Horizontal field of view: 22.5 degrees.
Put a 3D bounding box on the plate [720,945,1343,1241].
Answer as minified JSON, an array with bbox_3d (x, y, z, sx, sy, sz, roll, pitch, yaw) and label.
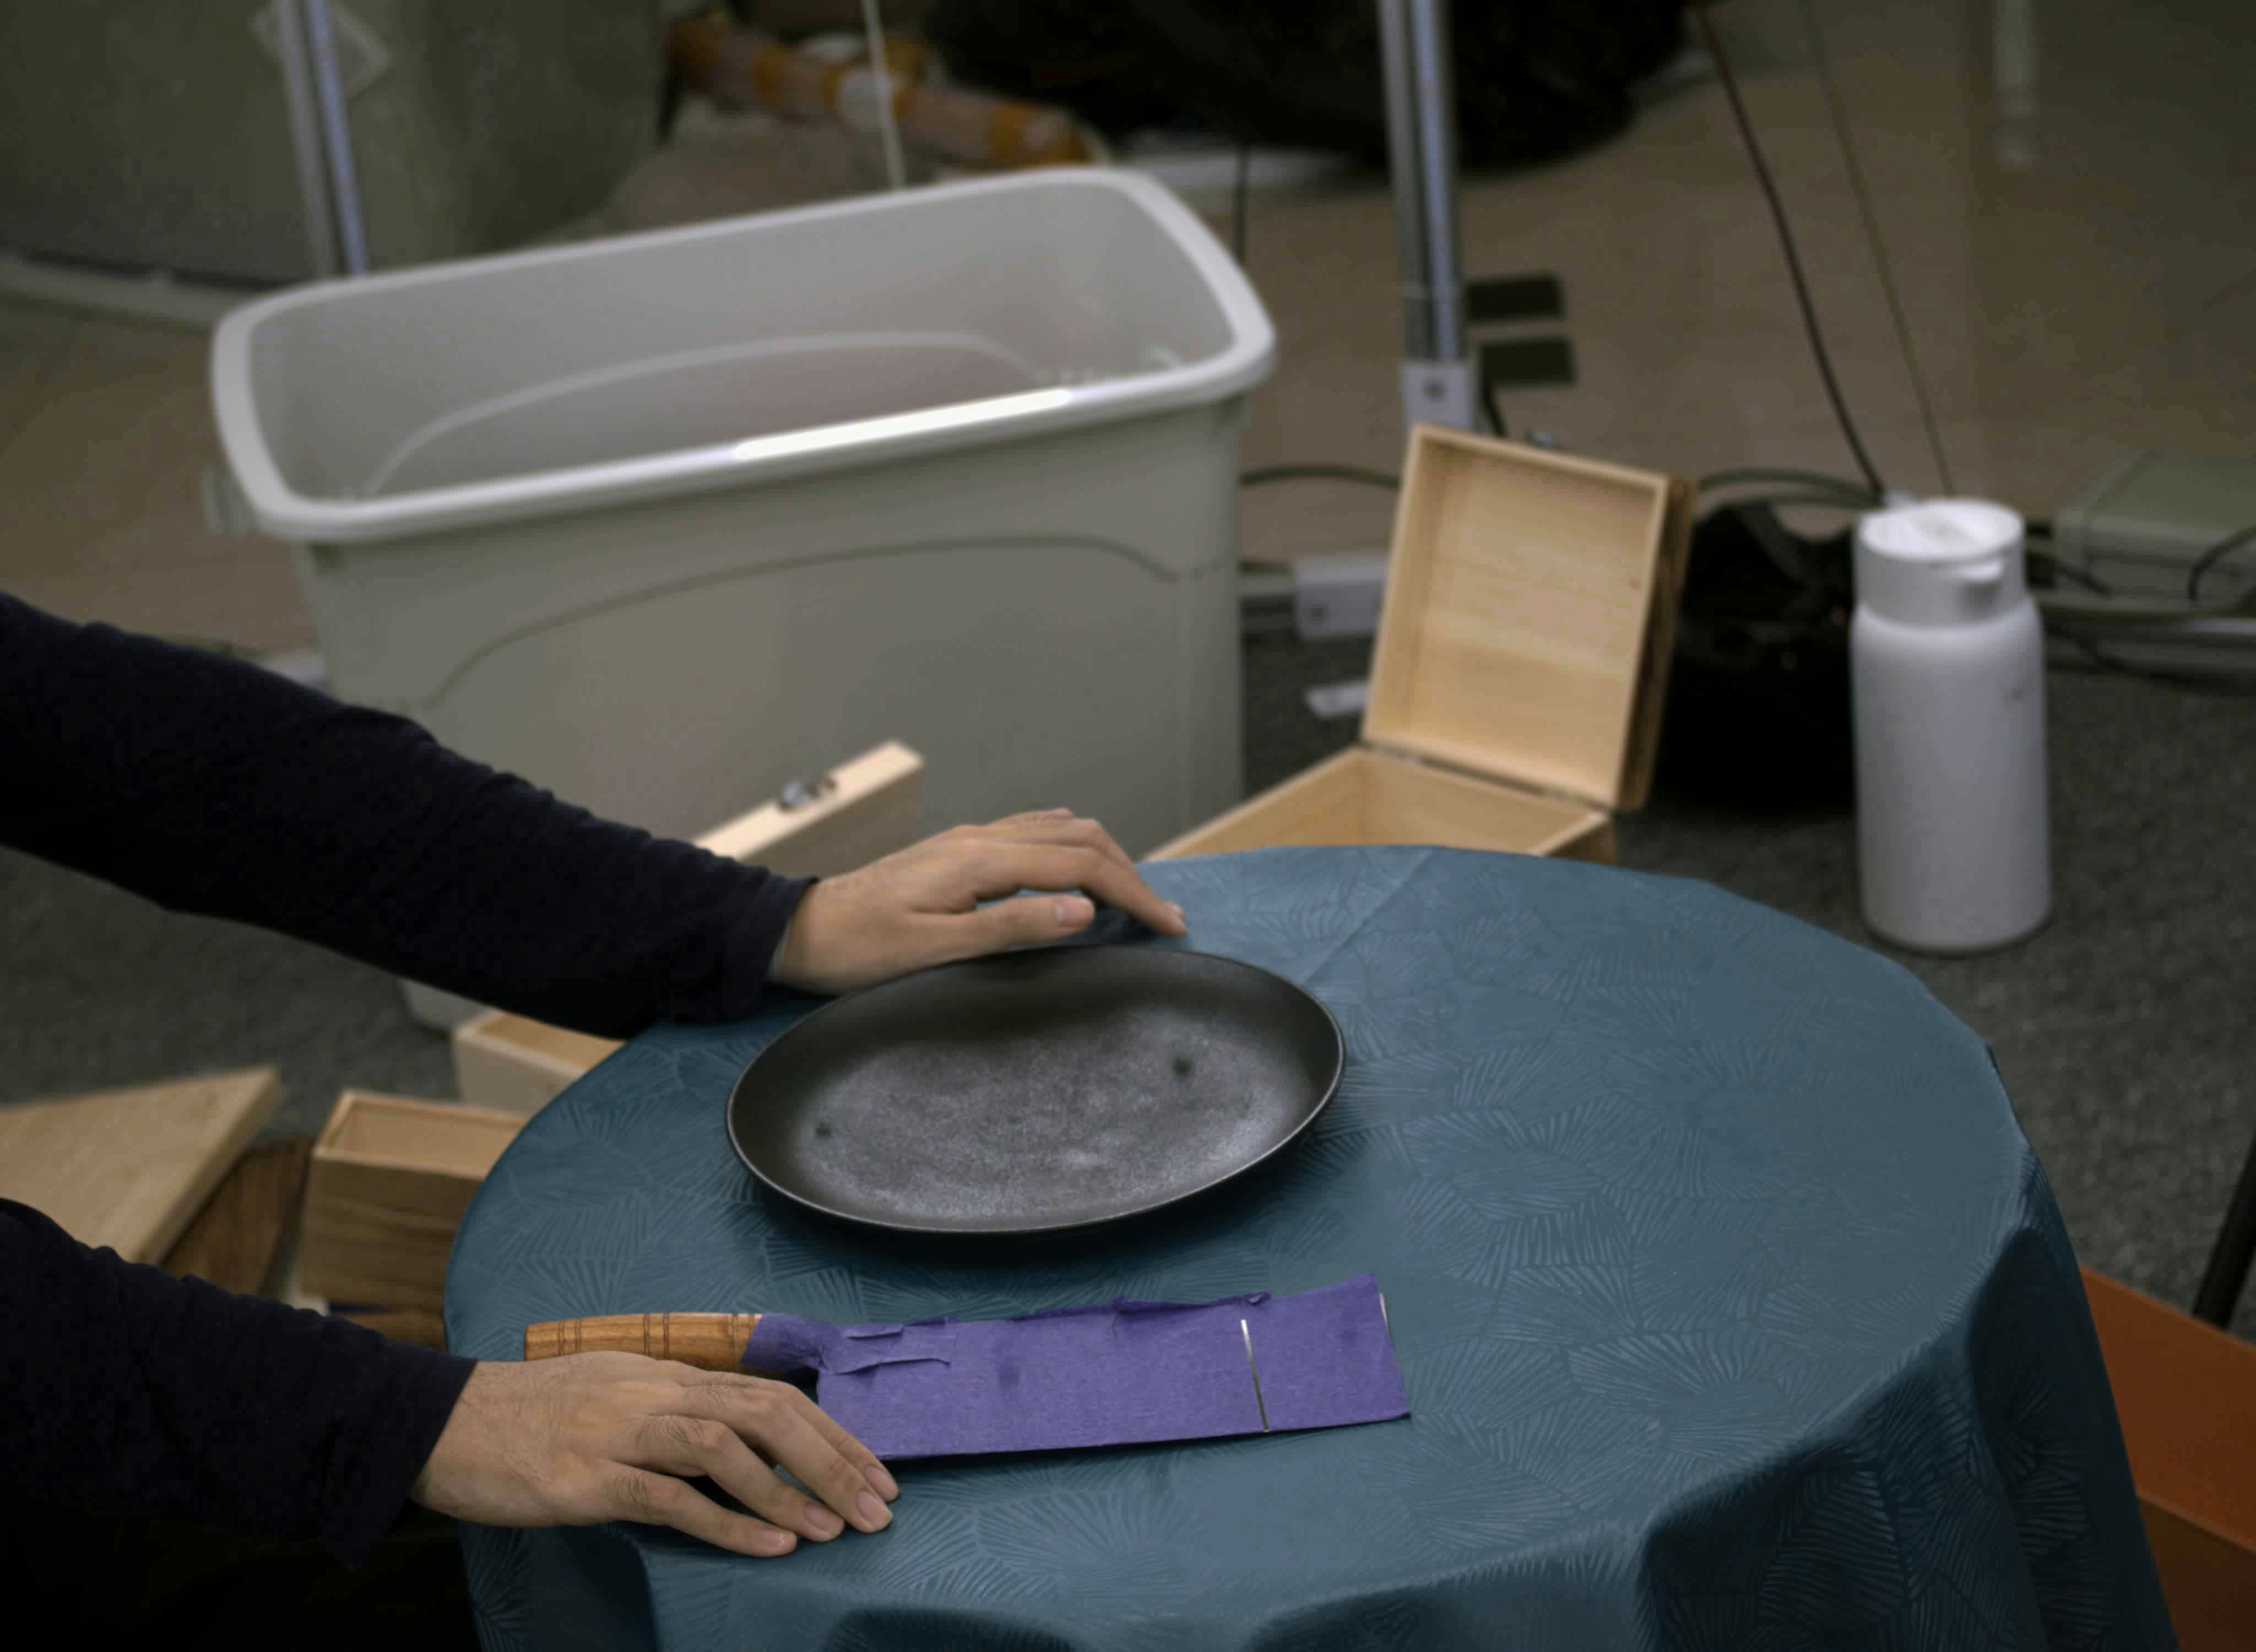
[{"bbox_3d":[-0.037,0.108,2.200,0.244,0.024,0.241,-5,25,3],"label":"plate"}]

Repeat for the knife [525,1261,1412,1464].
[{"bbox_3d":[-0.058,0.194,2.016,0.315,0.033,0.102,-6,24,-1],"label":"knife"}]
